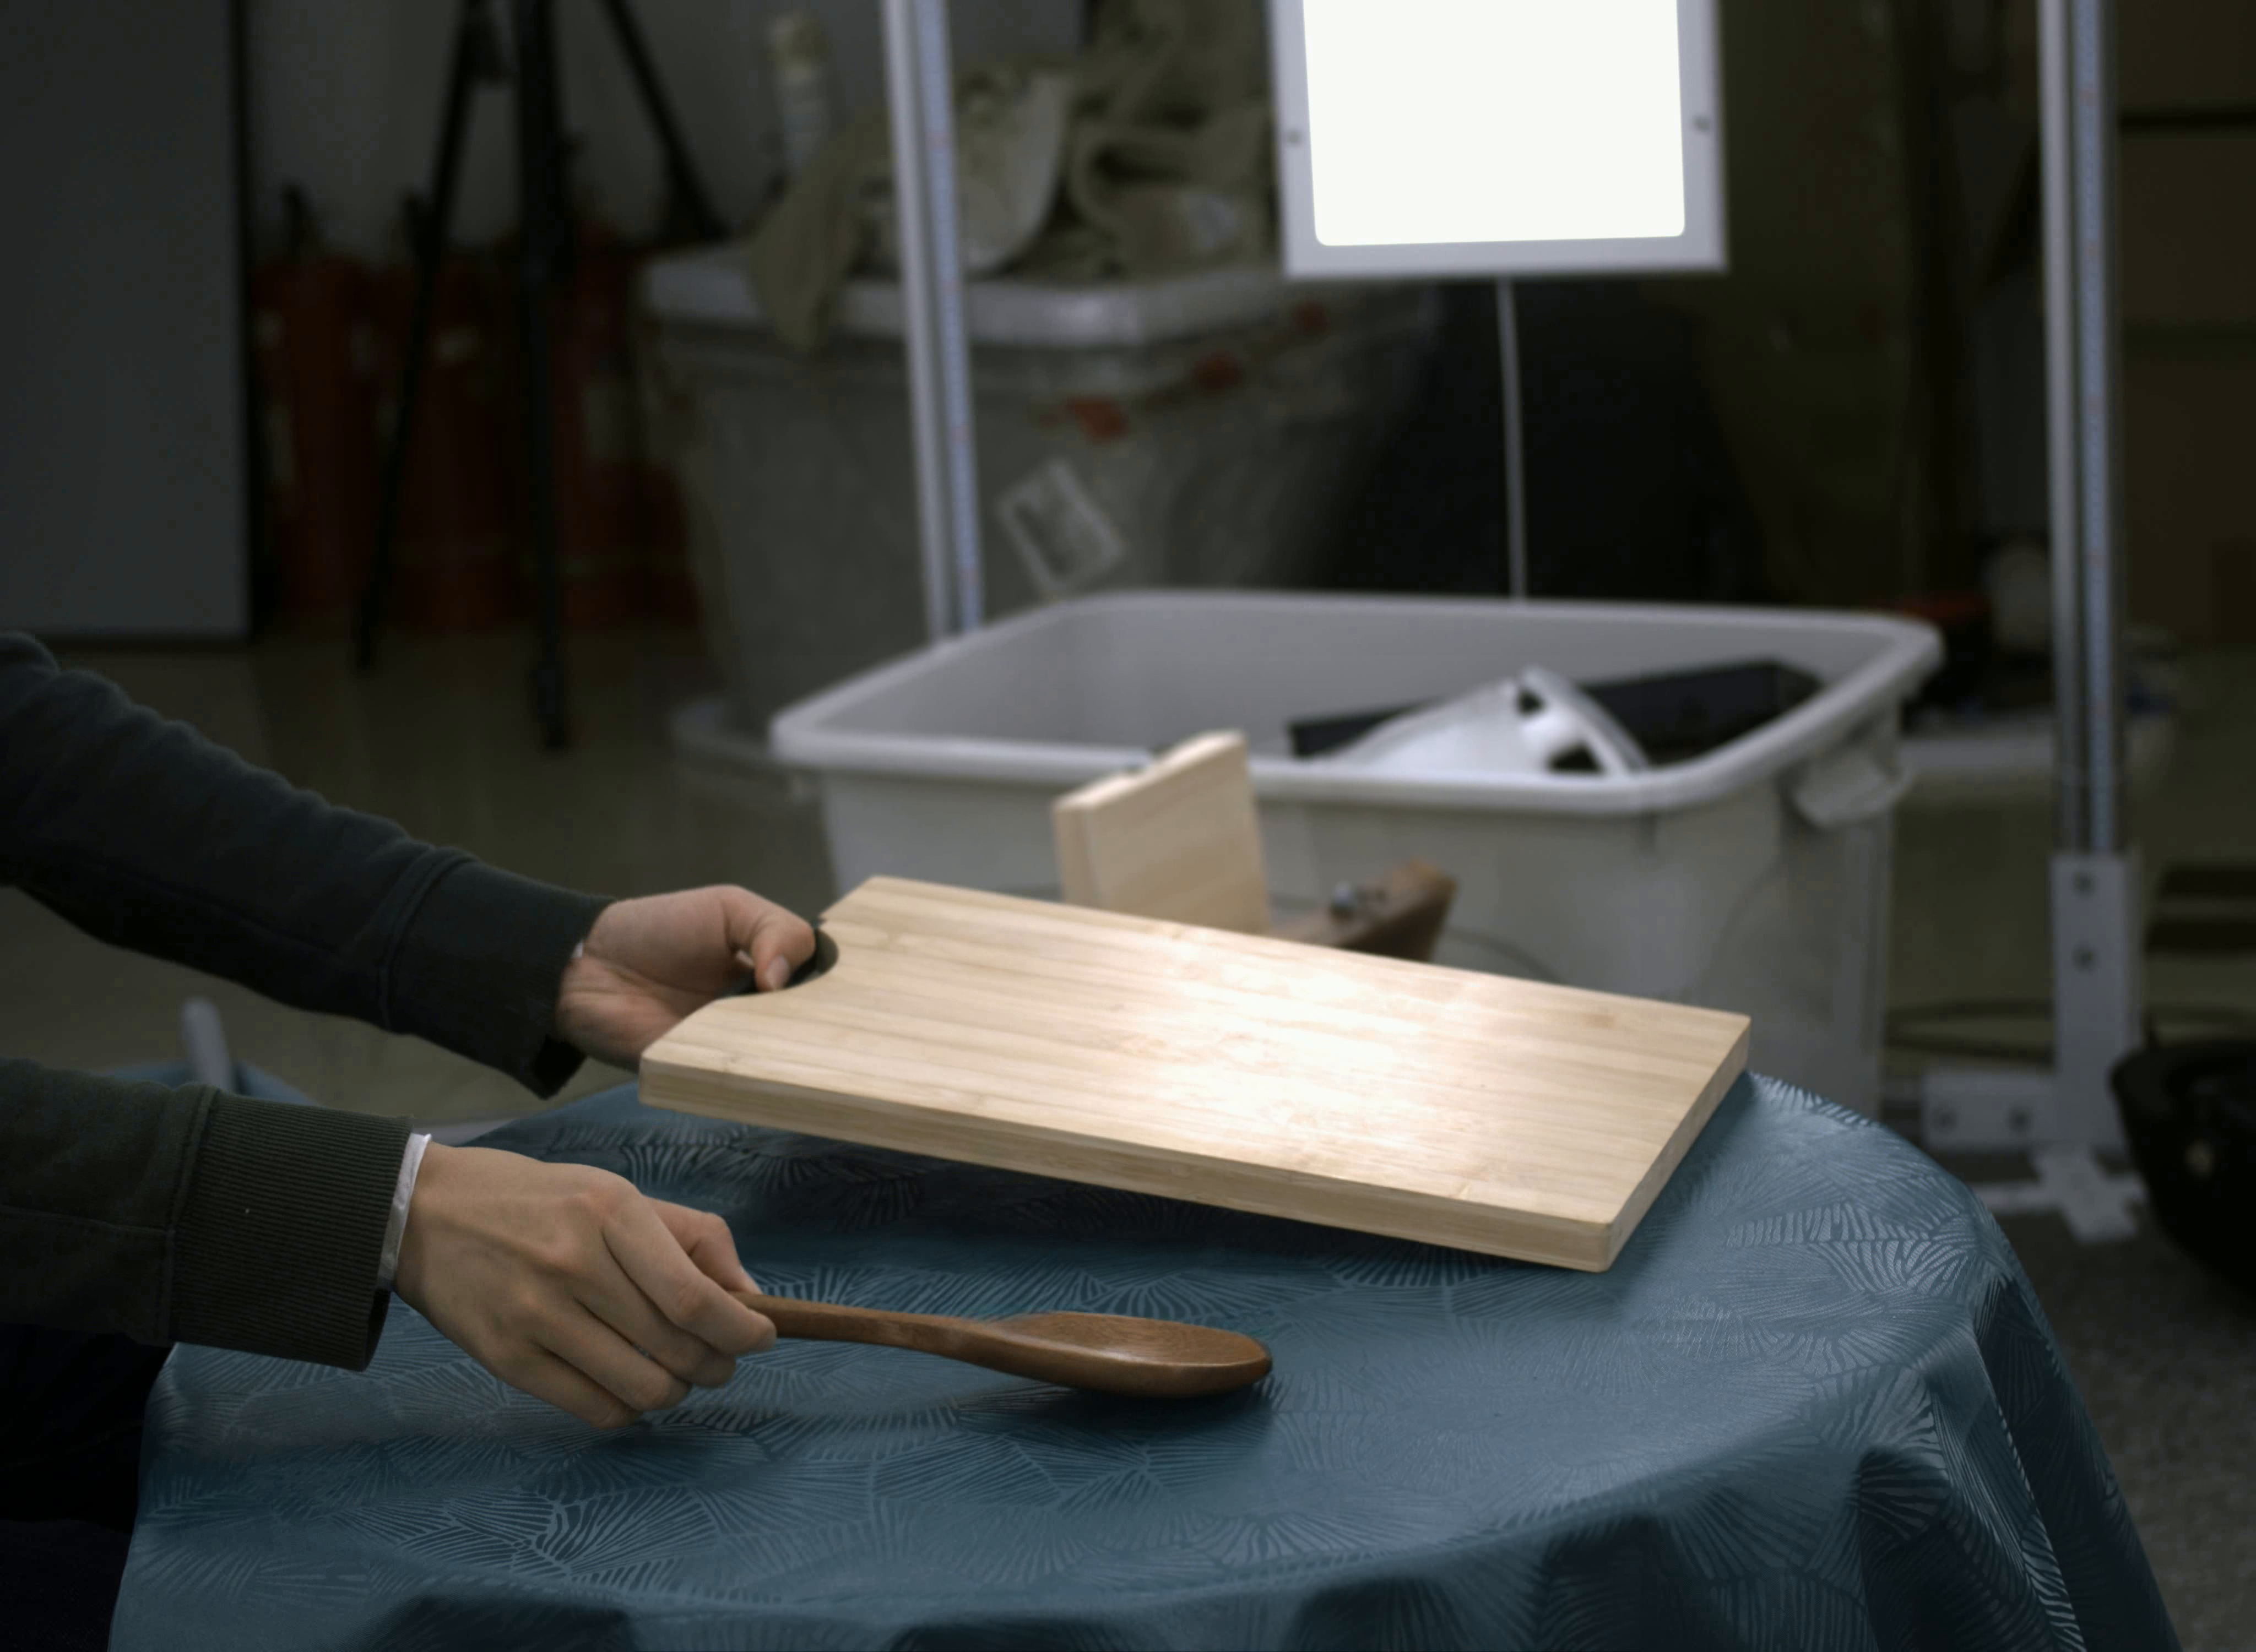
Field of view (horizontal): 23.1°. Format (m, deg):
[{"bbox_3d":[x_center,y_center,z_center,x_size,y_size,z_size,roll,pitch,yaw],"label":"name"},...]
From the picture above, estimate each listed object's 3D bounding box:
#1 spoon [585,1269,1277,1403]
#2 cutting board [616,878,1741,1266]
[{"bbox_3d":[-0.061,0.157,1.700,0.216,0.017,0.075,7,9,7],"label":"spoon"},{"bbox_3d":[0.024,0.082,1.930,0.352,0.024,0.247,8,16,16],"label":"cutting board"}]
